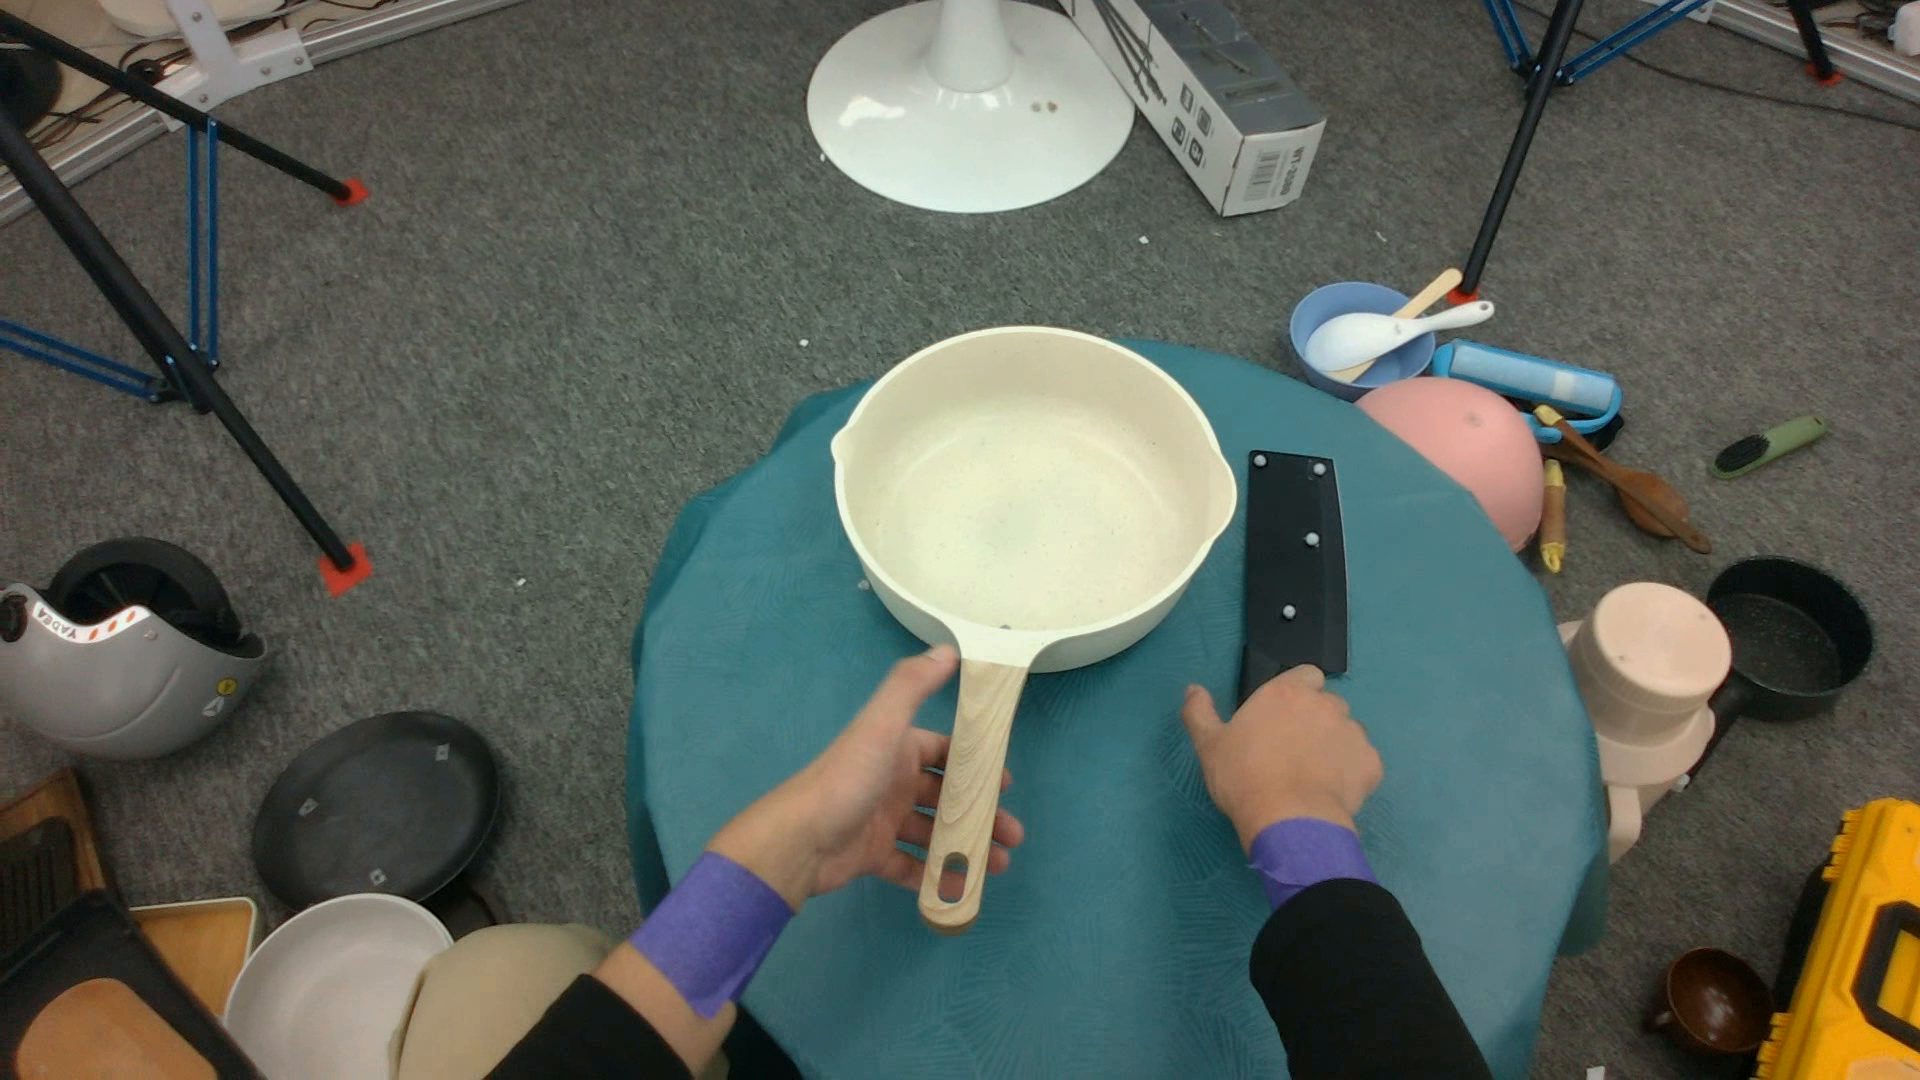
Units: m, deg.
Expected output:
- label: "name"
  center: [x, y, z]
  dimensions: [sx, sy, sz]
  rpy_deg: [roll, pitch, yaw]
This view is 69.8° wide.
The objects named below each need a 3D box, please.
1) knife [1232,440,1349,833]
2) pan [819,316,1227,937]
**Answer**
- label: "knife"
  center: [0.214, 0.050, 0.901]
  dimensions: [0.081, 0.021, 0.304]
  rpy_deg: [10, 54, 7]
- label: "pan"
  center: [0.025, 0.043, 0.855]
  dimensions: [0.263, 0.101, 0.437]
  rpy_deg: [8, 56, 4]
